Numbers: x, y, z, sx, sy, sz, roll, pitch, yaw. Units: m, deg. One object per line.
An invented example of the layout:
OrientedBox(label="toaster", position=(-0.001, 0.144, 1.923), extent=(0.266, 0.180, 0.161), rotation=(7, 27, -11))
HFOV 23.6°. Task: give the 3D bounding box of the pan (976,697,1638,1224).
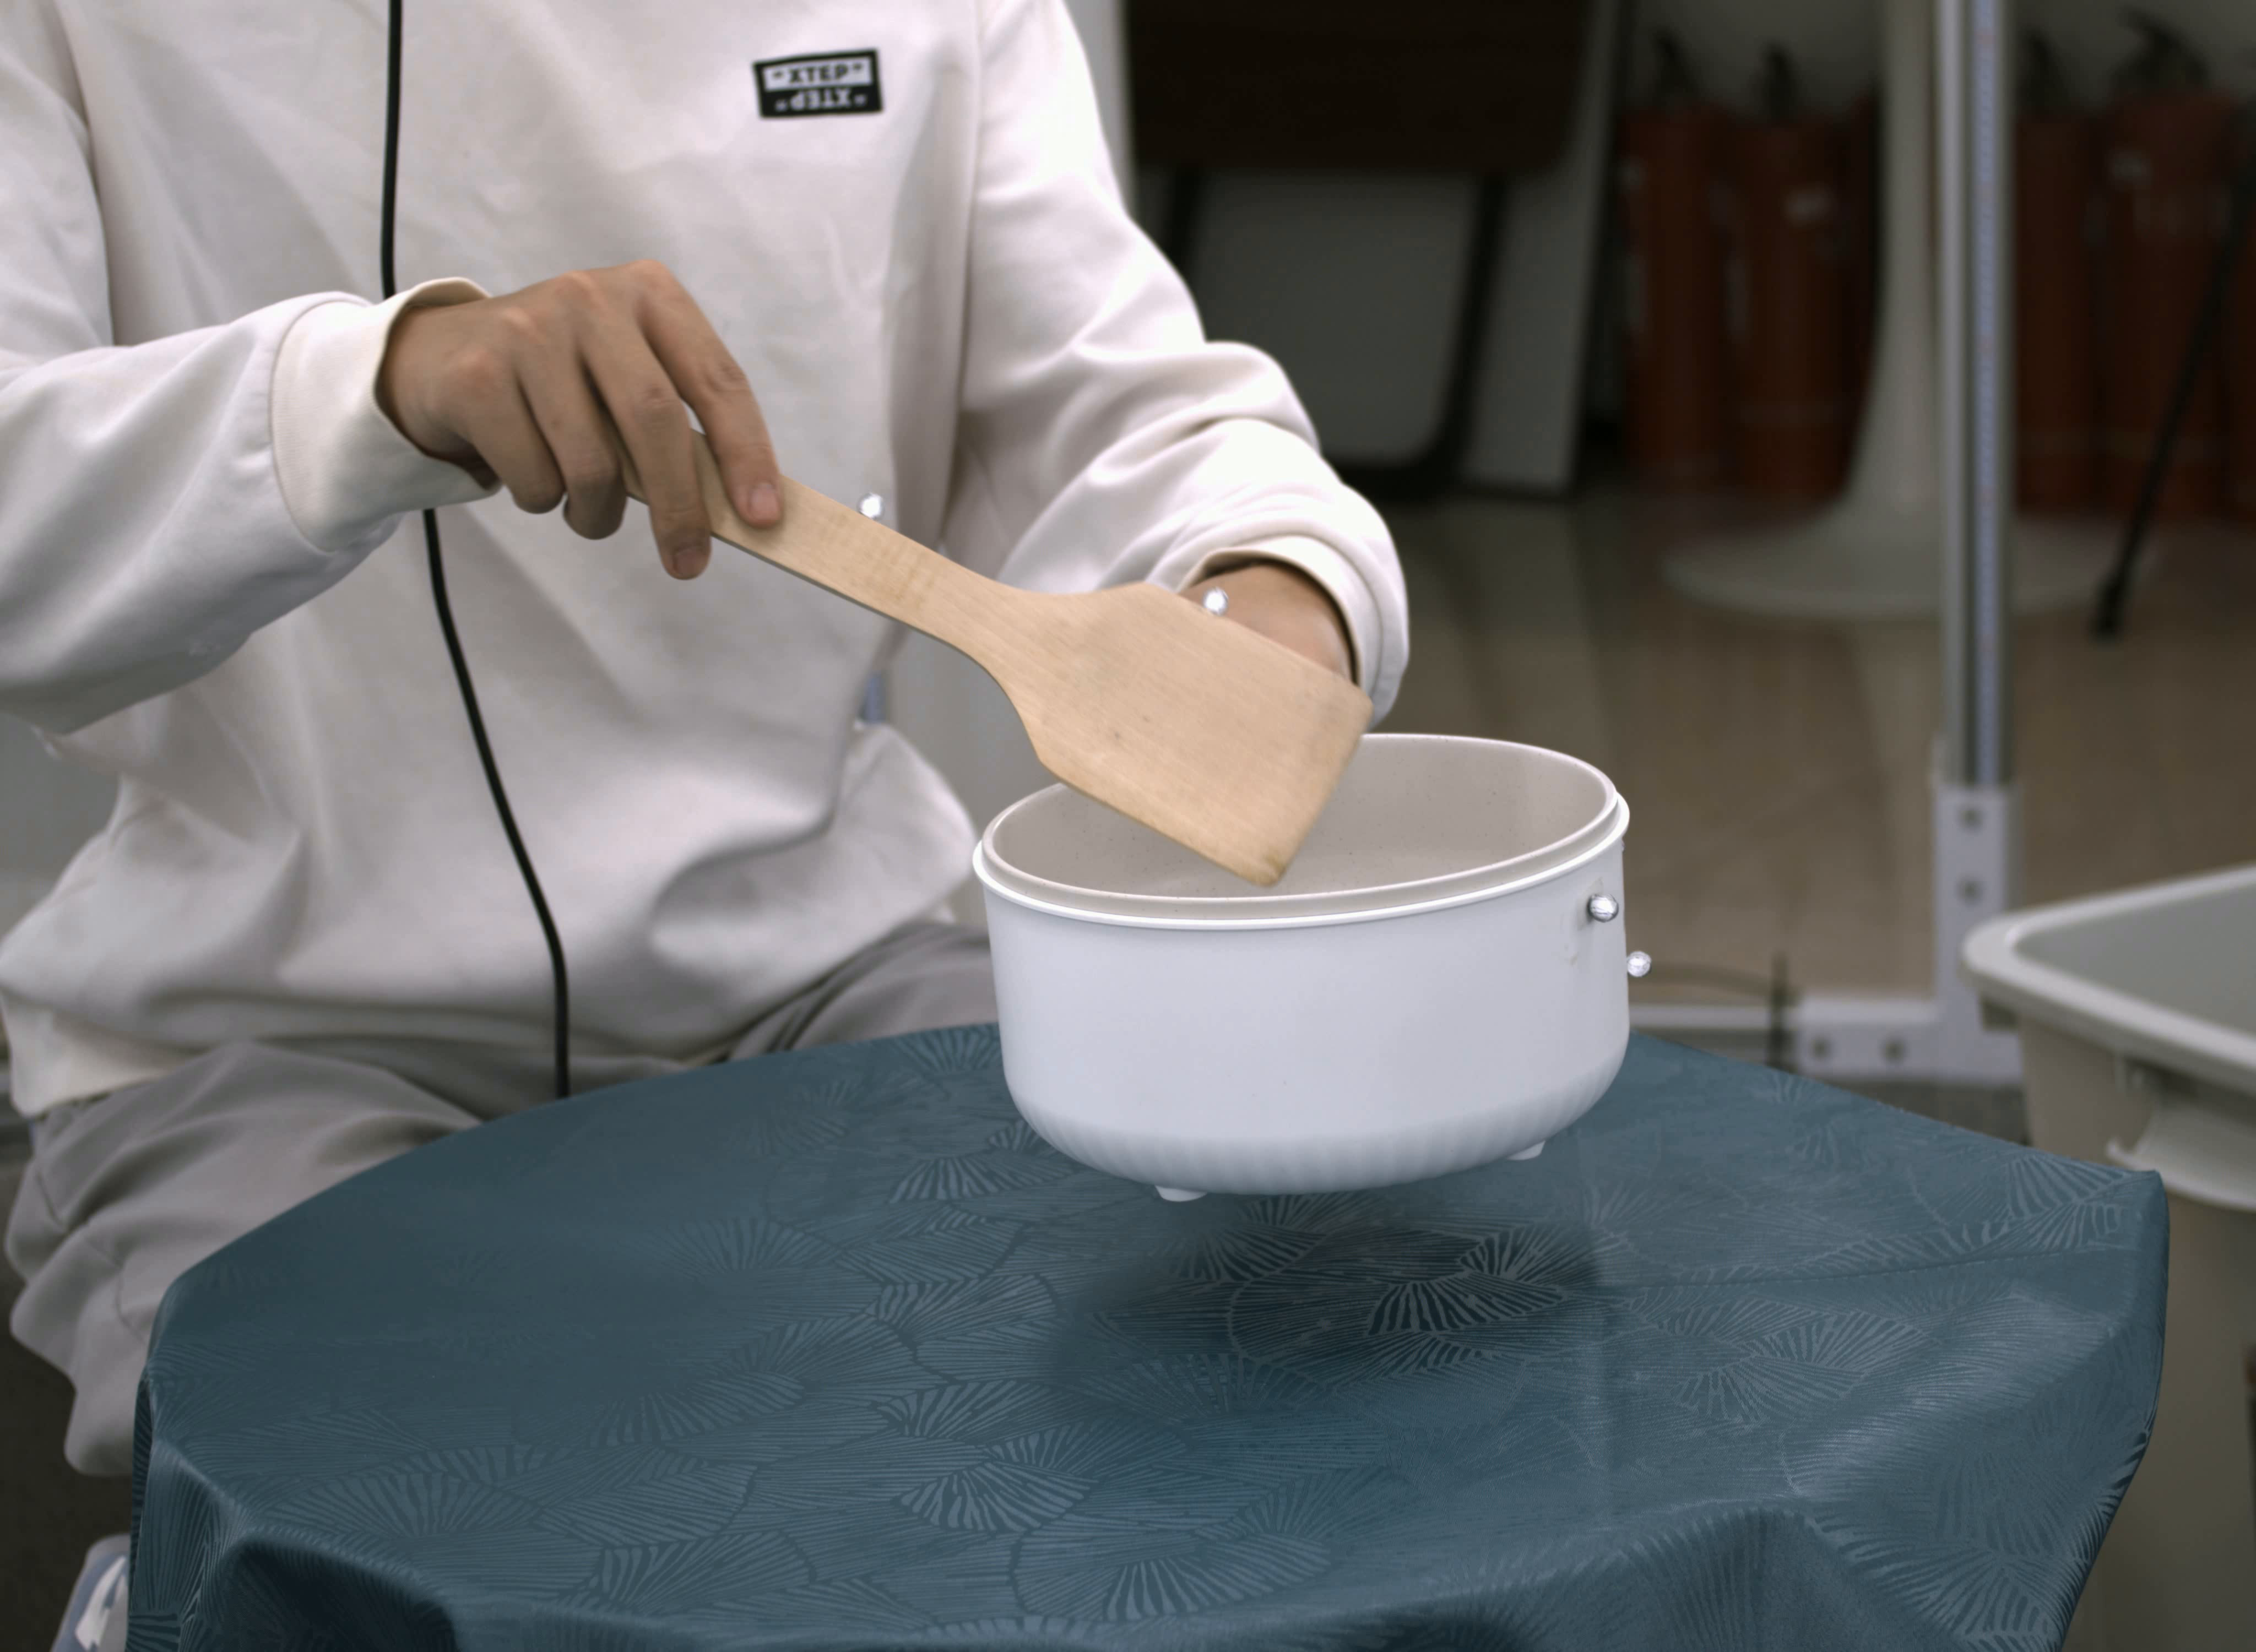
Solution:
OrientedBox(label="pan", position=(0.048, 0.035, 1.723), extent=(0.198, 0.103, 0.356), rotation=(-10, 12, -6))
